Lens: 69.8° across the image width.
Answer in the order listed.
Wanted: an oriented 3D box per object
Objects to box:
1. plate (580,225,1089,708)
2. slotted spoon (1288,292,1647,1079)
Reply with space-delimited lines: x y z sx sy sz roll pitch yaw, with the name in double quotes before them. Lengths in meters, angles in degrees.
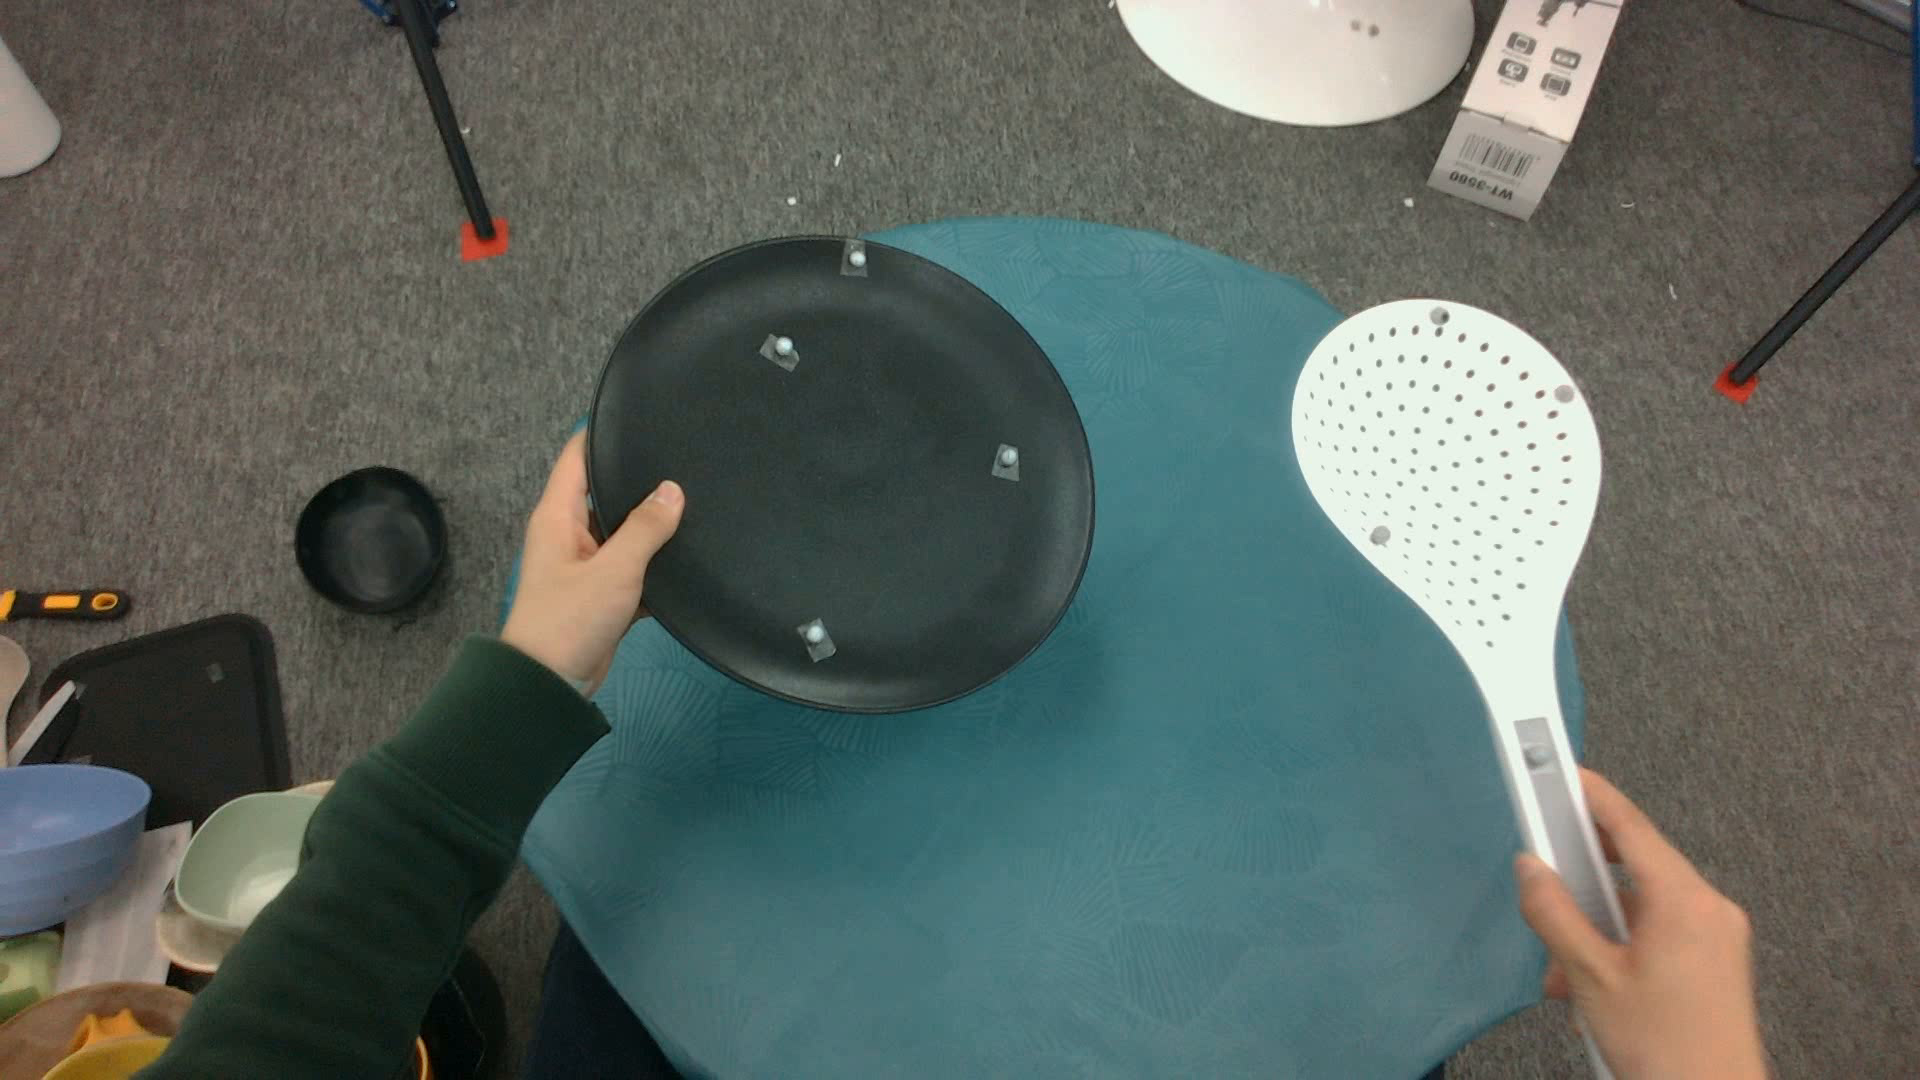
"plate" -0.054 -0.038 0.650 0.245 0.023 0.245 7 68 -18
"slotted spoon" 0.226 0.055 0.576 0.136 0.045 0.351 -6 66 -6
